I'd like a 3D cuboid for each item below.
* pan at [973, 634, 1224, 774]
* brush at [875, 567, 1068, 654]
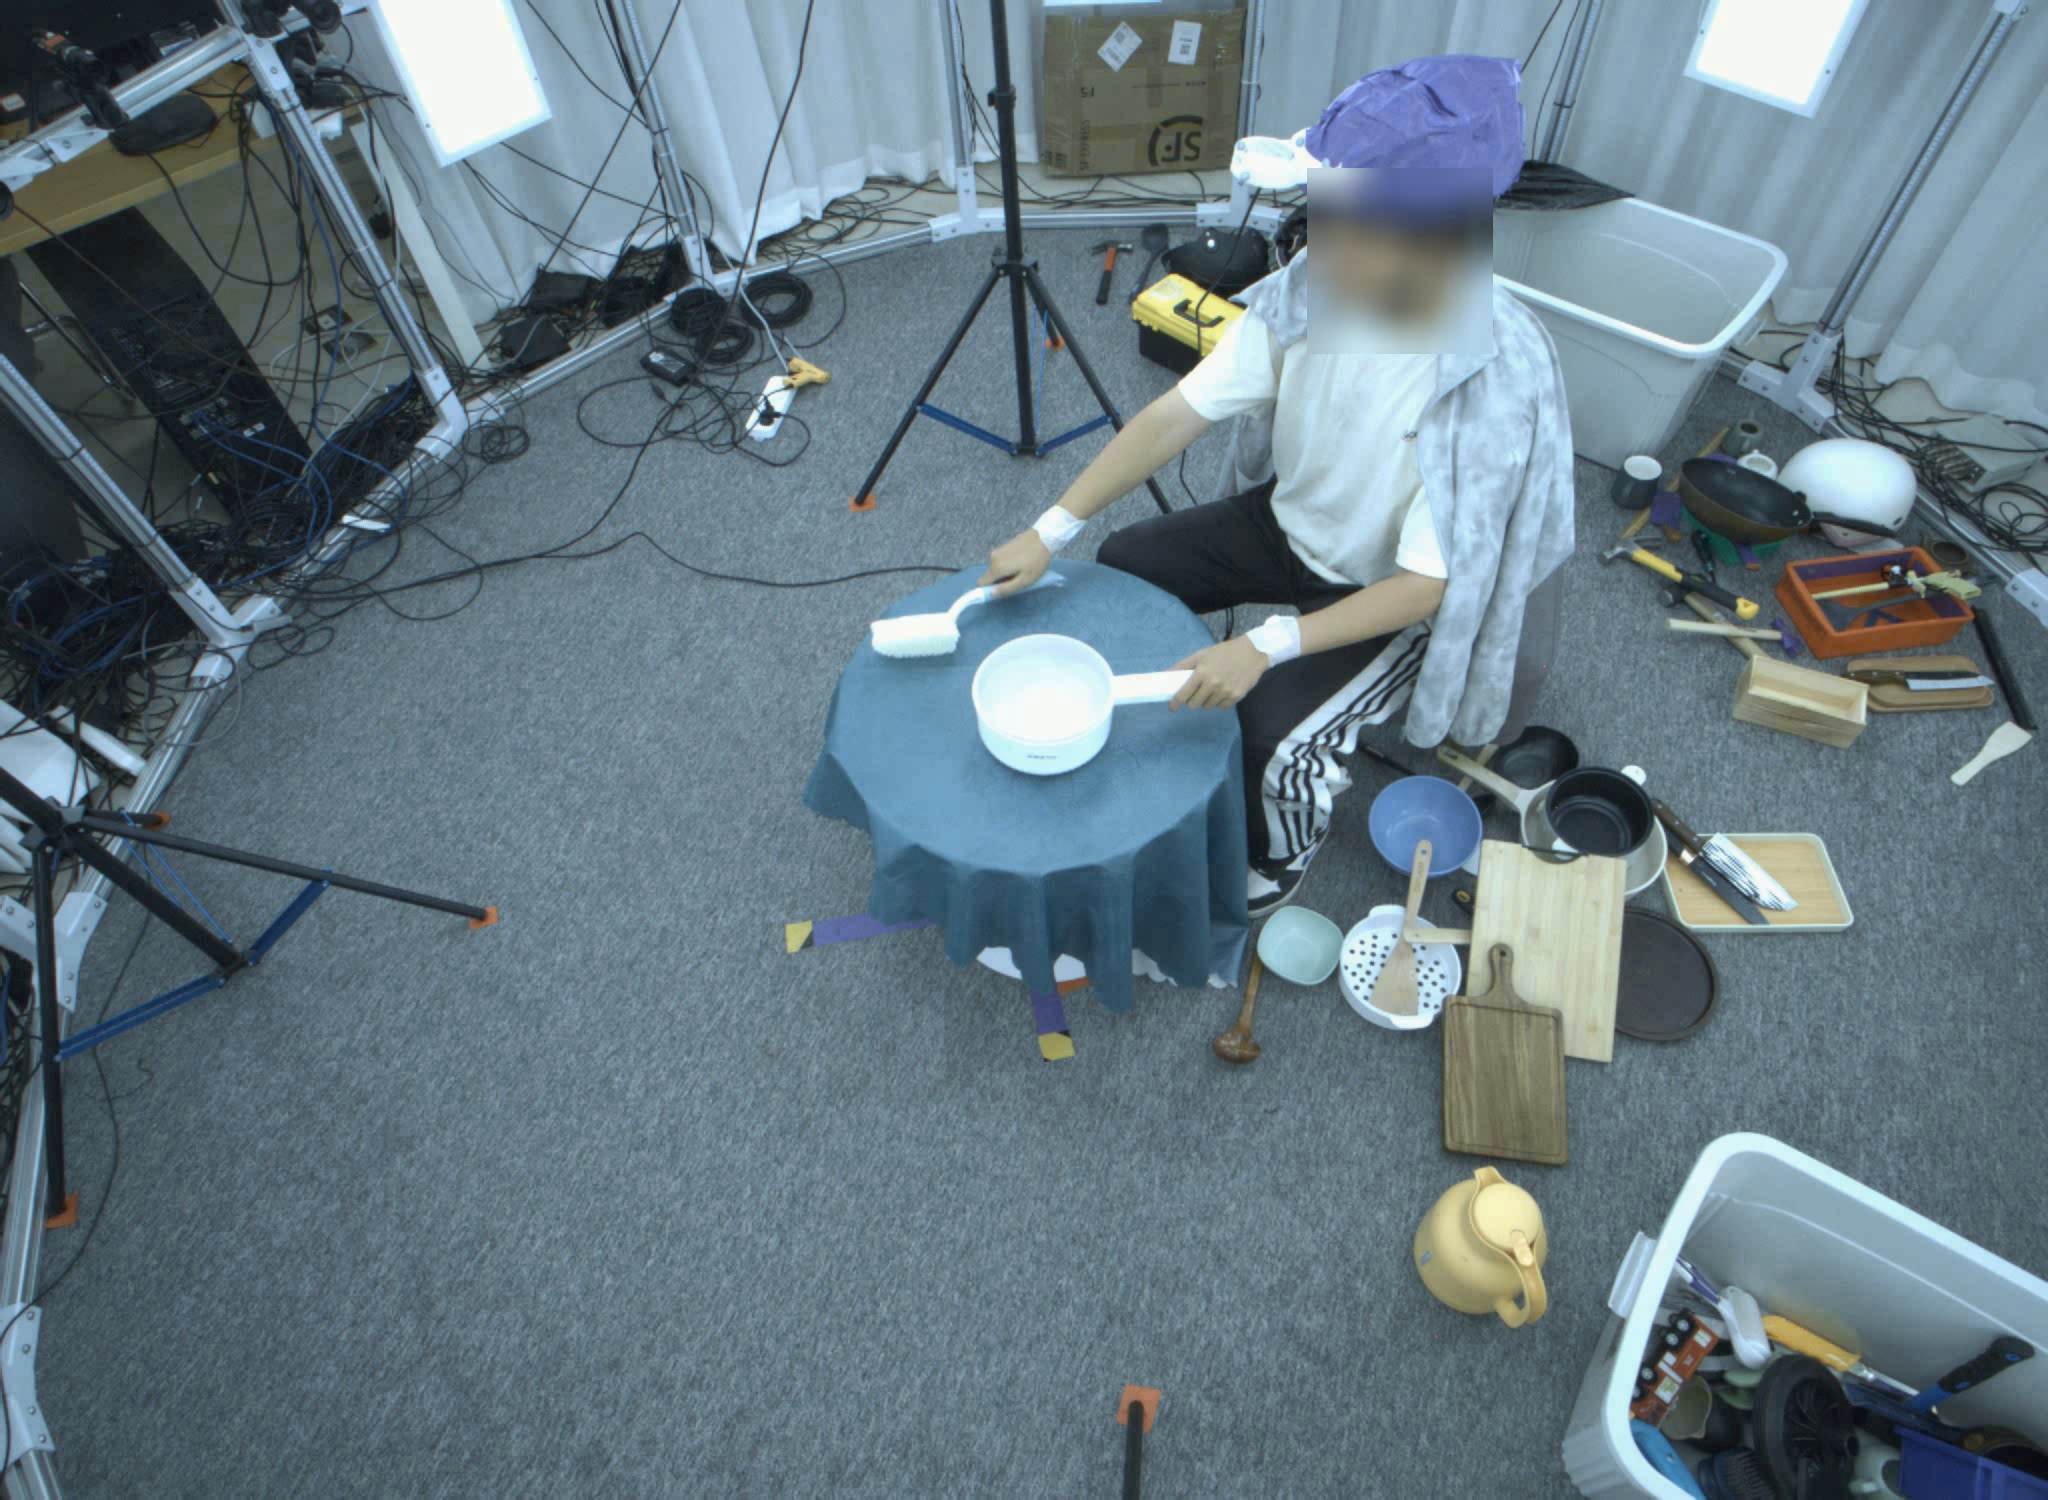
[{"bbox_3d":[0.105,-0.066,1.773,0.356,0.103,0.198,-4,54,-3],"label":"pan"},{"bbox_3d":[-0.071,-0.206,1.897,0.328,0.085,0.081,-17,18,-16],"label":"brush"}]
